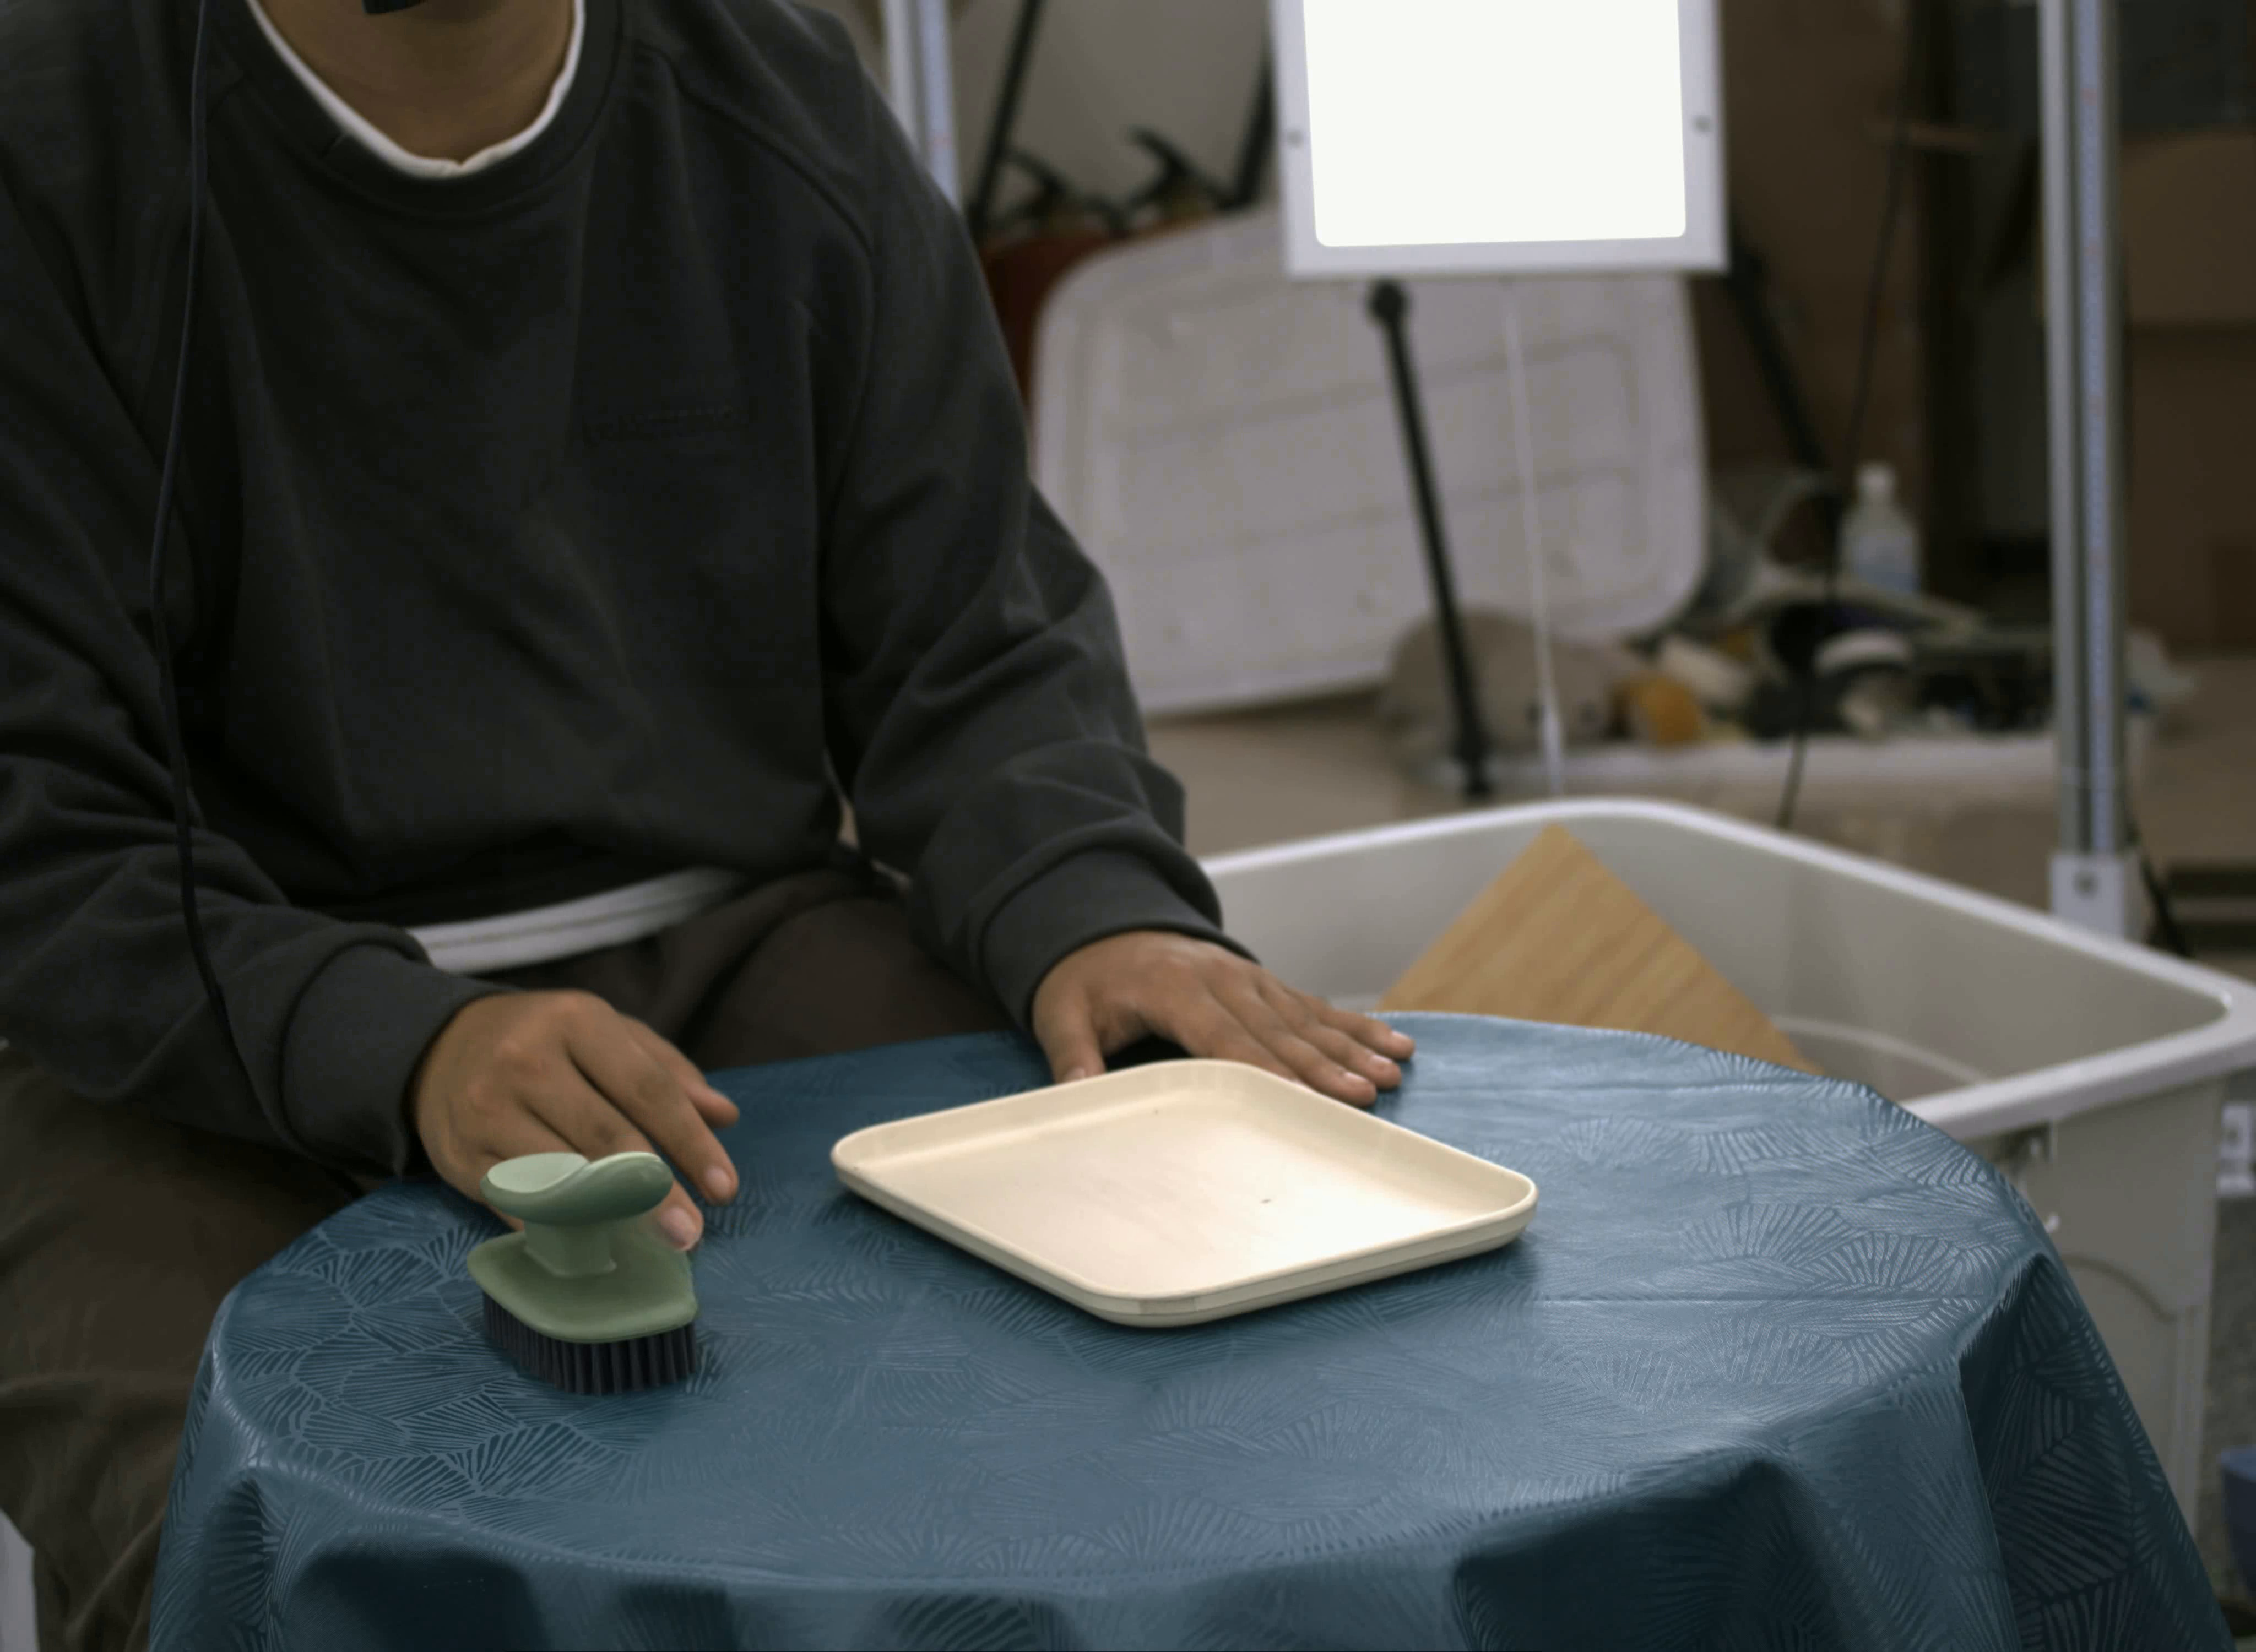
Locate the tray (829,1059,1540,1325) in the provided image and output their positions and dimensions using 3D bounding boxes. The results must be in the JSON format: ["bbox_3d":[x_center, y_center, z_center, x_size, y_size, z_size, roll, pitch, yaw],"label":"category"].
[{"bbox_3d":[0.017,0.123,1.868,0.167,0.017,0.244,-11,15,-26],"label":"tray"}]

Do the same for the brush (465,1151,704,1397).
[{"bbox_3d":[-0.175,0.143,1.781,0.058,0.076,0.125,-9,0,-23],"label":"brush"}]
